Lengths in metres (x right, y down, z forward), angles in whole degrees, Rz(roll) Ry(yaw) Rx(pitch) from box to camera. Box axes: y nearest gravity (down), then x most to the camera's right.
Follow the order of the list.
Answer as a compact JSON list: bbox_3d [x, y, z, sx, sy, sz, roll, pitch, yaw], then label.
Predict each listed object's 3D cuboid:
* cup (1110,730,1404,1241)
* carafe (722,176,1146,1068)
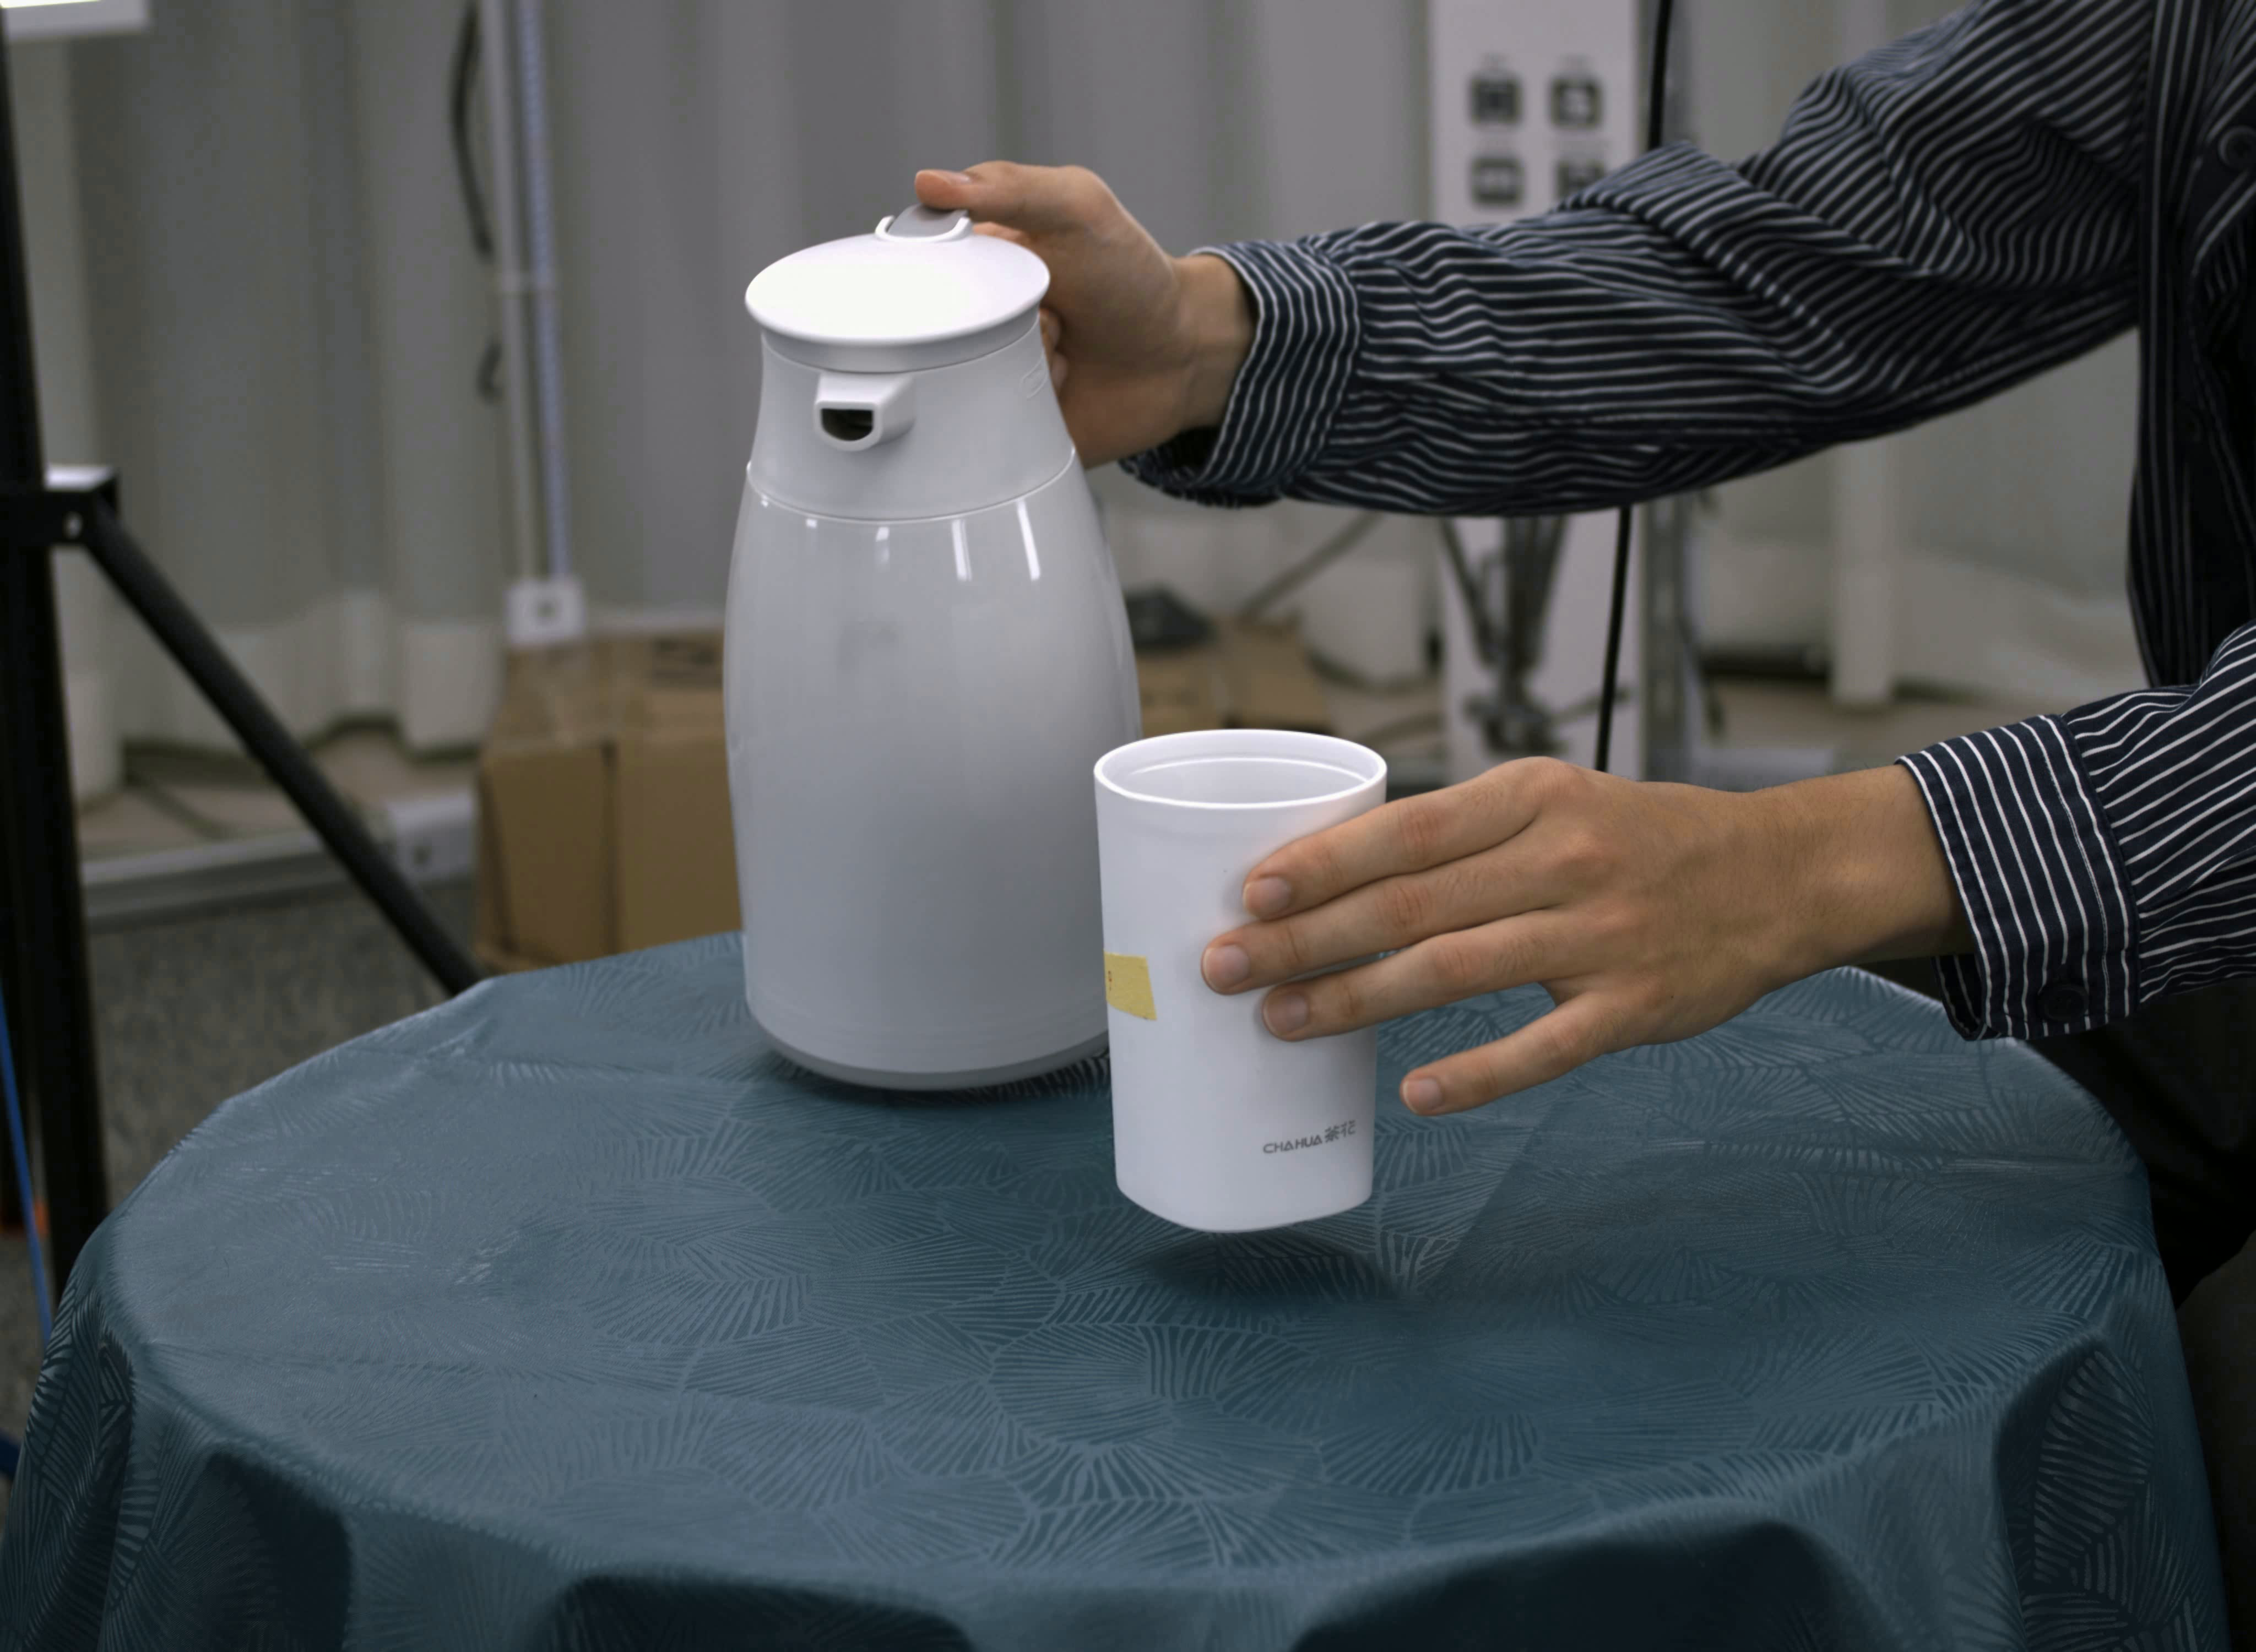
[{"bbox_3d":[0.036,0.044,1.469,0.081,0.125,0.082,-1,15,-1],"label":"cup"},{"bbox_3d":[-0.062,-0.073,1.665,0.133,0.247,0.168,-1,28,9],"label":"carafe"}]
